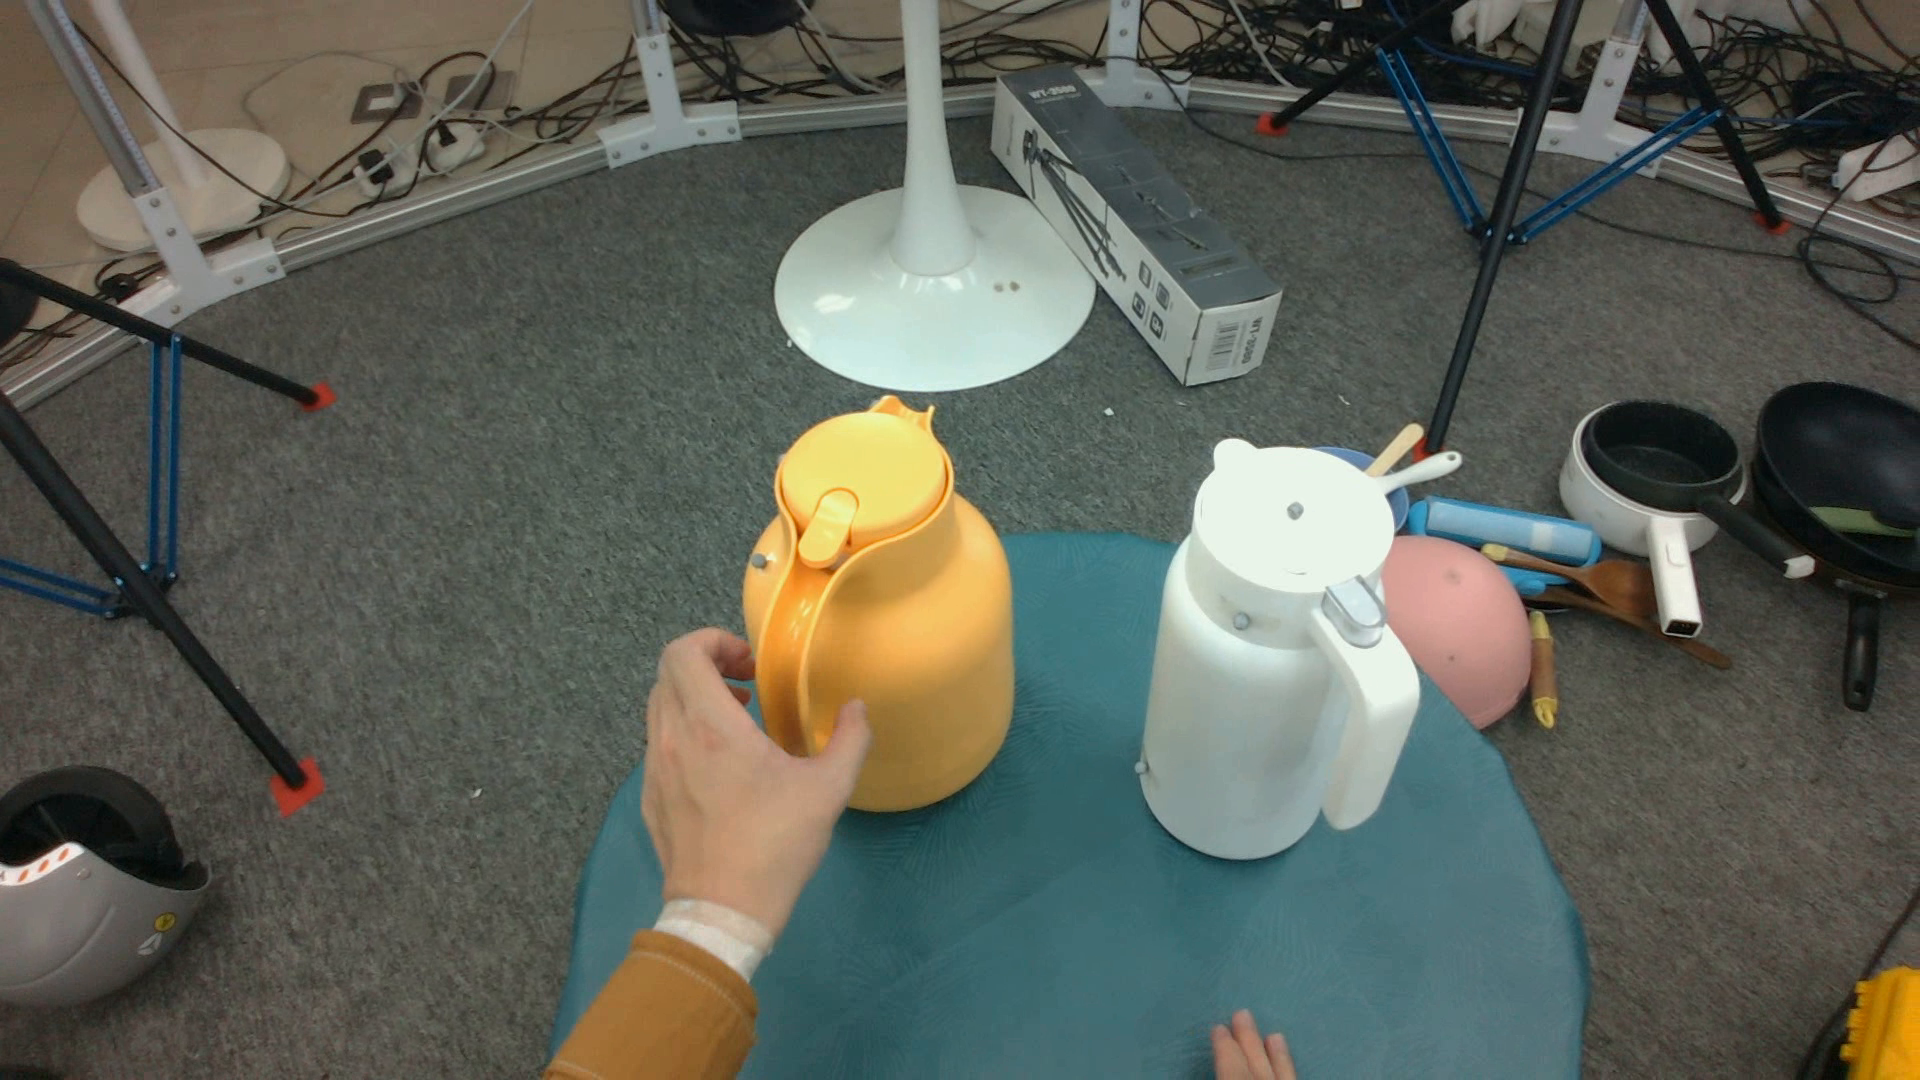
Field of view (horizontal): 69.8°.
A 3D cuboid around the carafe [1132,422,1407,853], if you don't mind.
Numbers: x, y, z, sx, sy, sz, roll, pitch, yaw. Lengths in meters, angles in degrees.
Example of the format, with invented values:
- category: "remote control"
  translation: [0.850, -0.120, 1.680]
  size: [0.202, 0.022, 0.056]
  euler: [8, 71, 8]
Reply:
- category: "carafe"
  translation: [0.173, 0.079, 0.782]
  size: [0.124, 0.267, 0.173]
  euler: [-18, 51, -15]

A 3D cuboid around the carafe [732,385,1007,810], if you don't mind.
- category: "carafe"
  translation: [-0.063, 0.050, 0.814]
  size: [0.163, 0.259, 0.203]
  euler: [15, 50, 18]
